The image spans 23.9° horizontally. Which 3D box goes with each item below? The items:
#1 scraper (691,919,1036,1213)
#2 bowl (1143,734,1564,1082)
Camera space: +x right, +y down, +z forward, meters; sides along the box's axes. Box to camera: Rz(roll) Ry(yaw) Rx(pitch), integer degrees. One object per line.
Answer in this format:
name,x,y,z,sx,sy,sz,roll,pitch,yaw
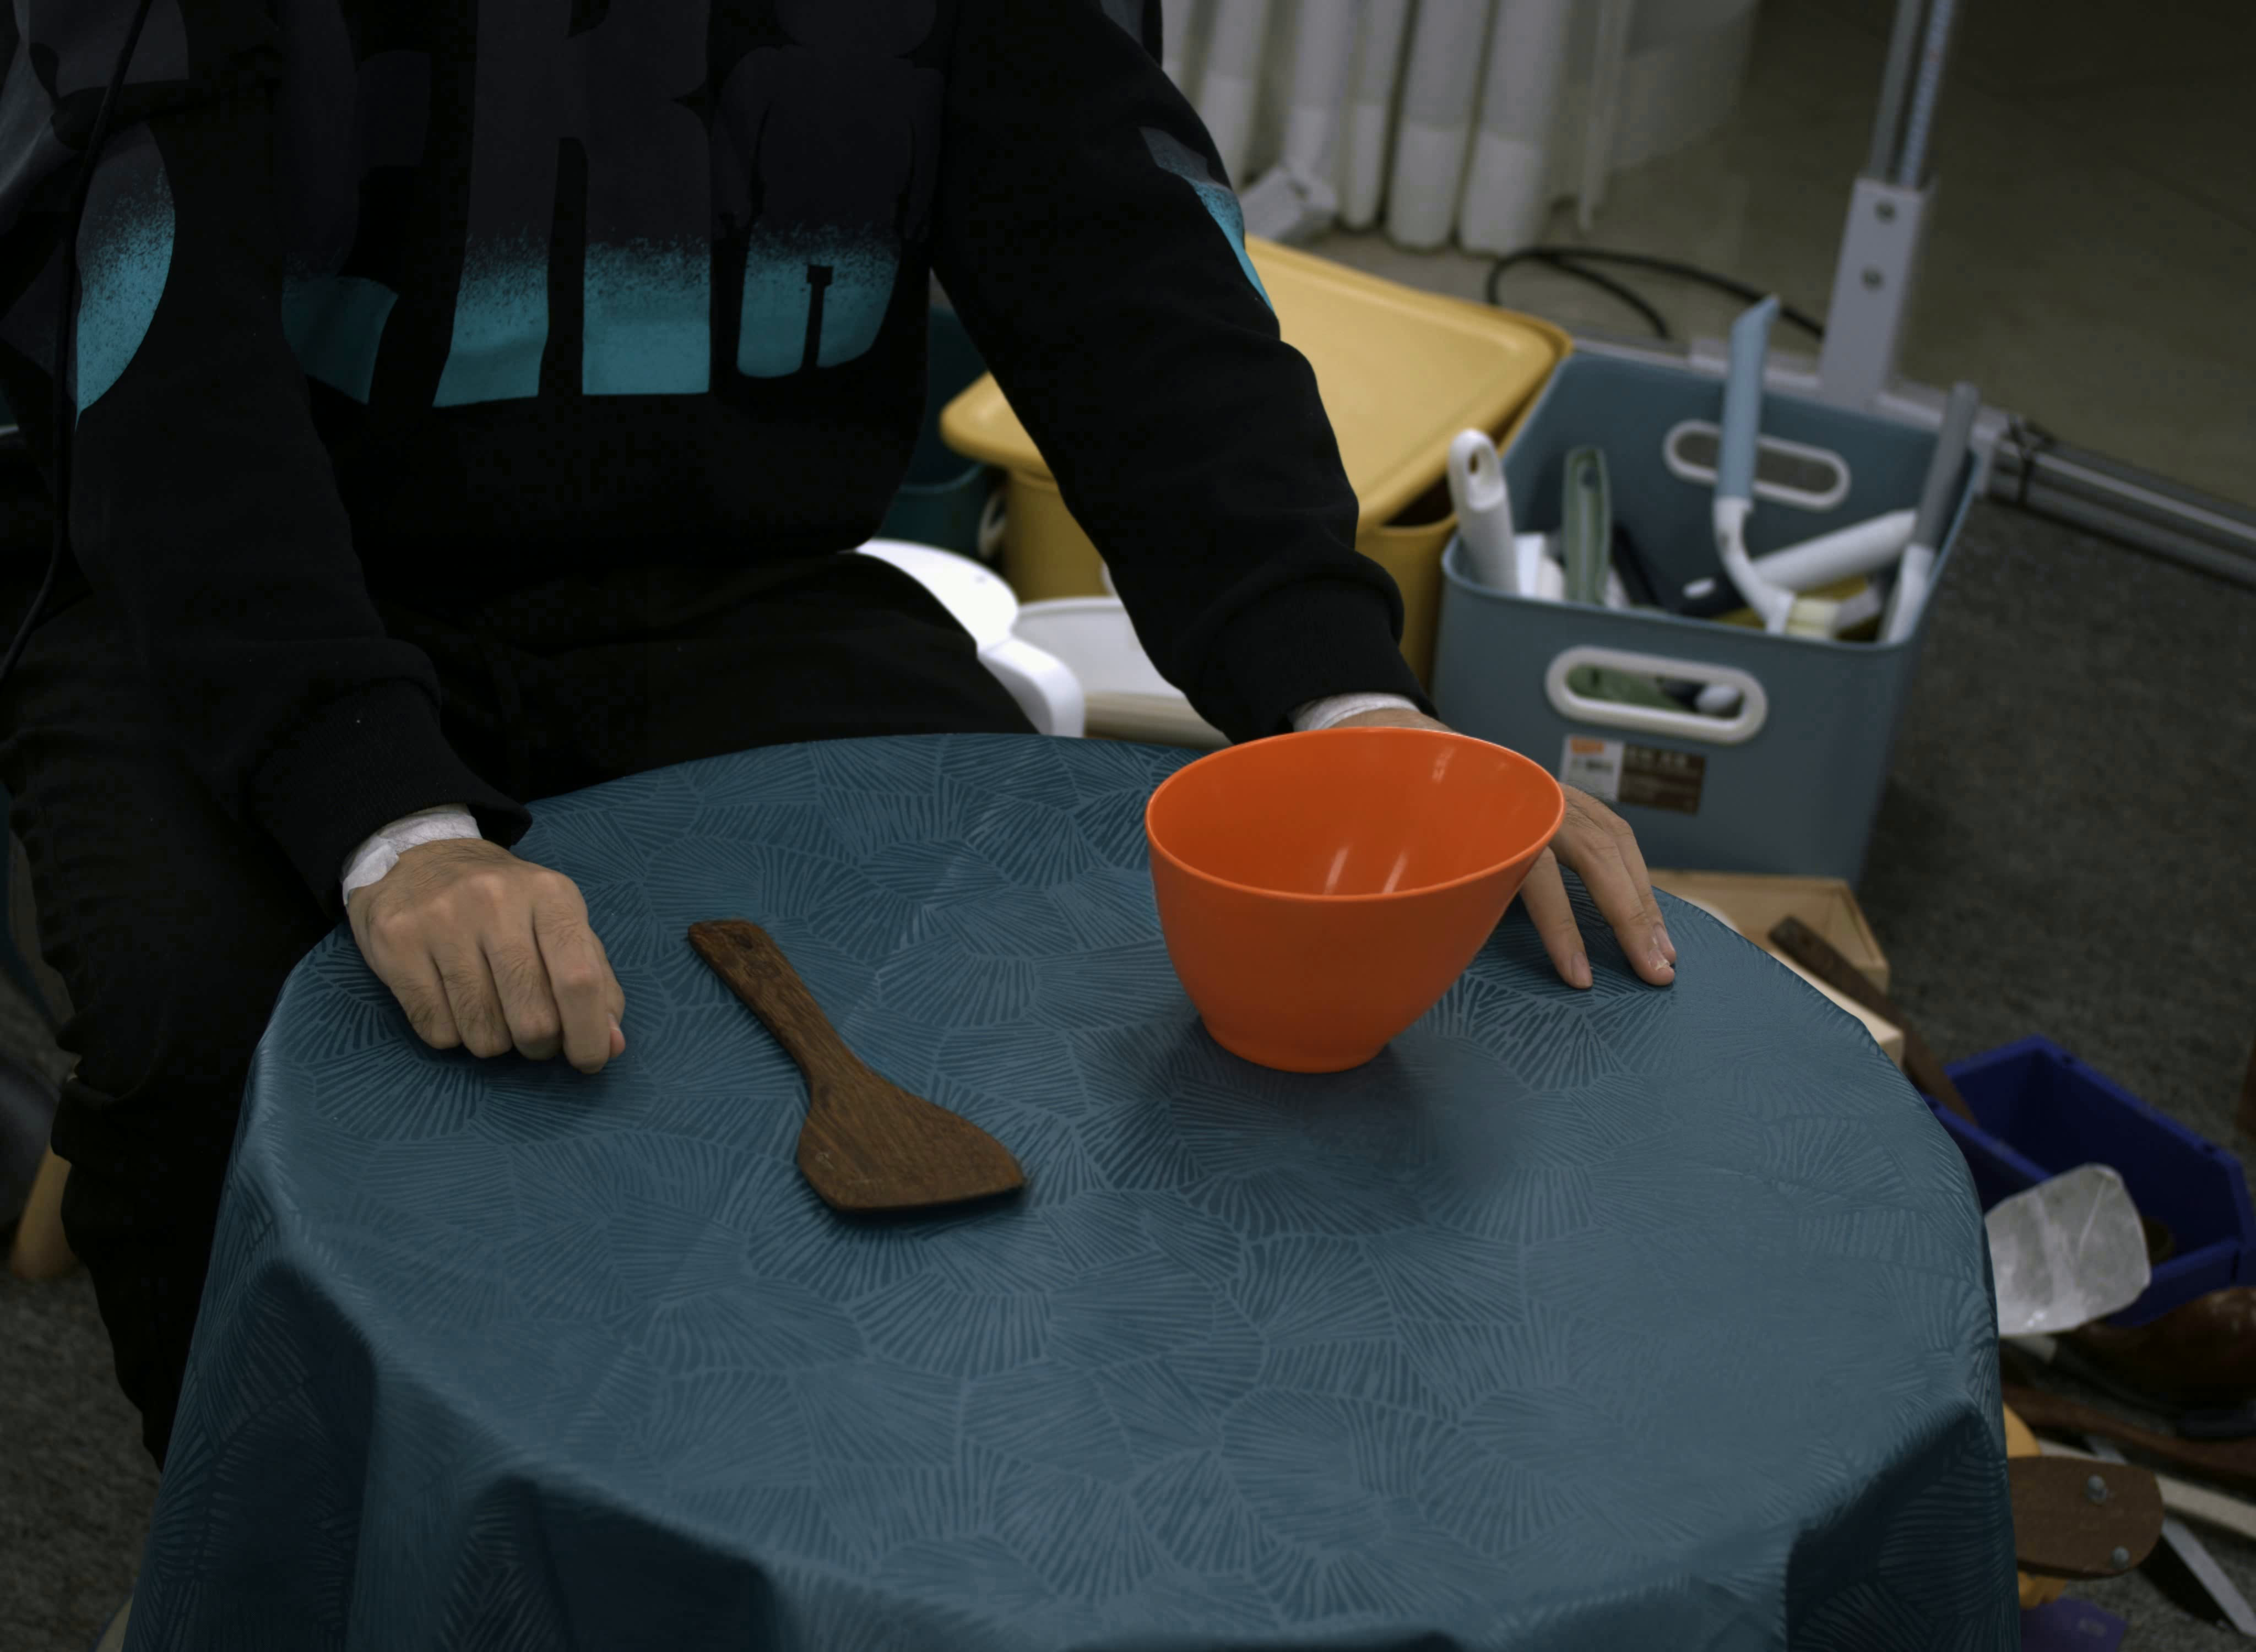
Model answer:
scraper,-0.104,0.082,1.850,0.075,0.011,0.213,-6,28,-25
bowl,0.075,0.033,1.888,0.147,0.104,0.149,4,26,-2
